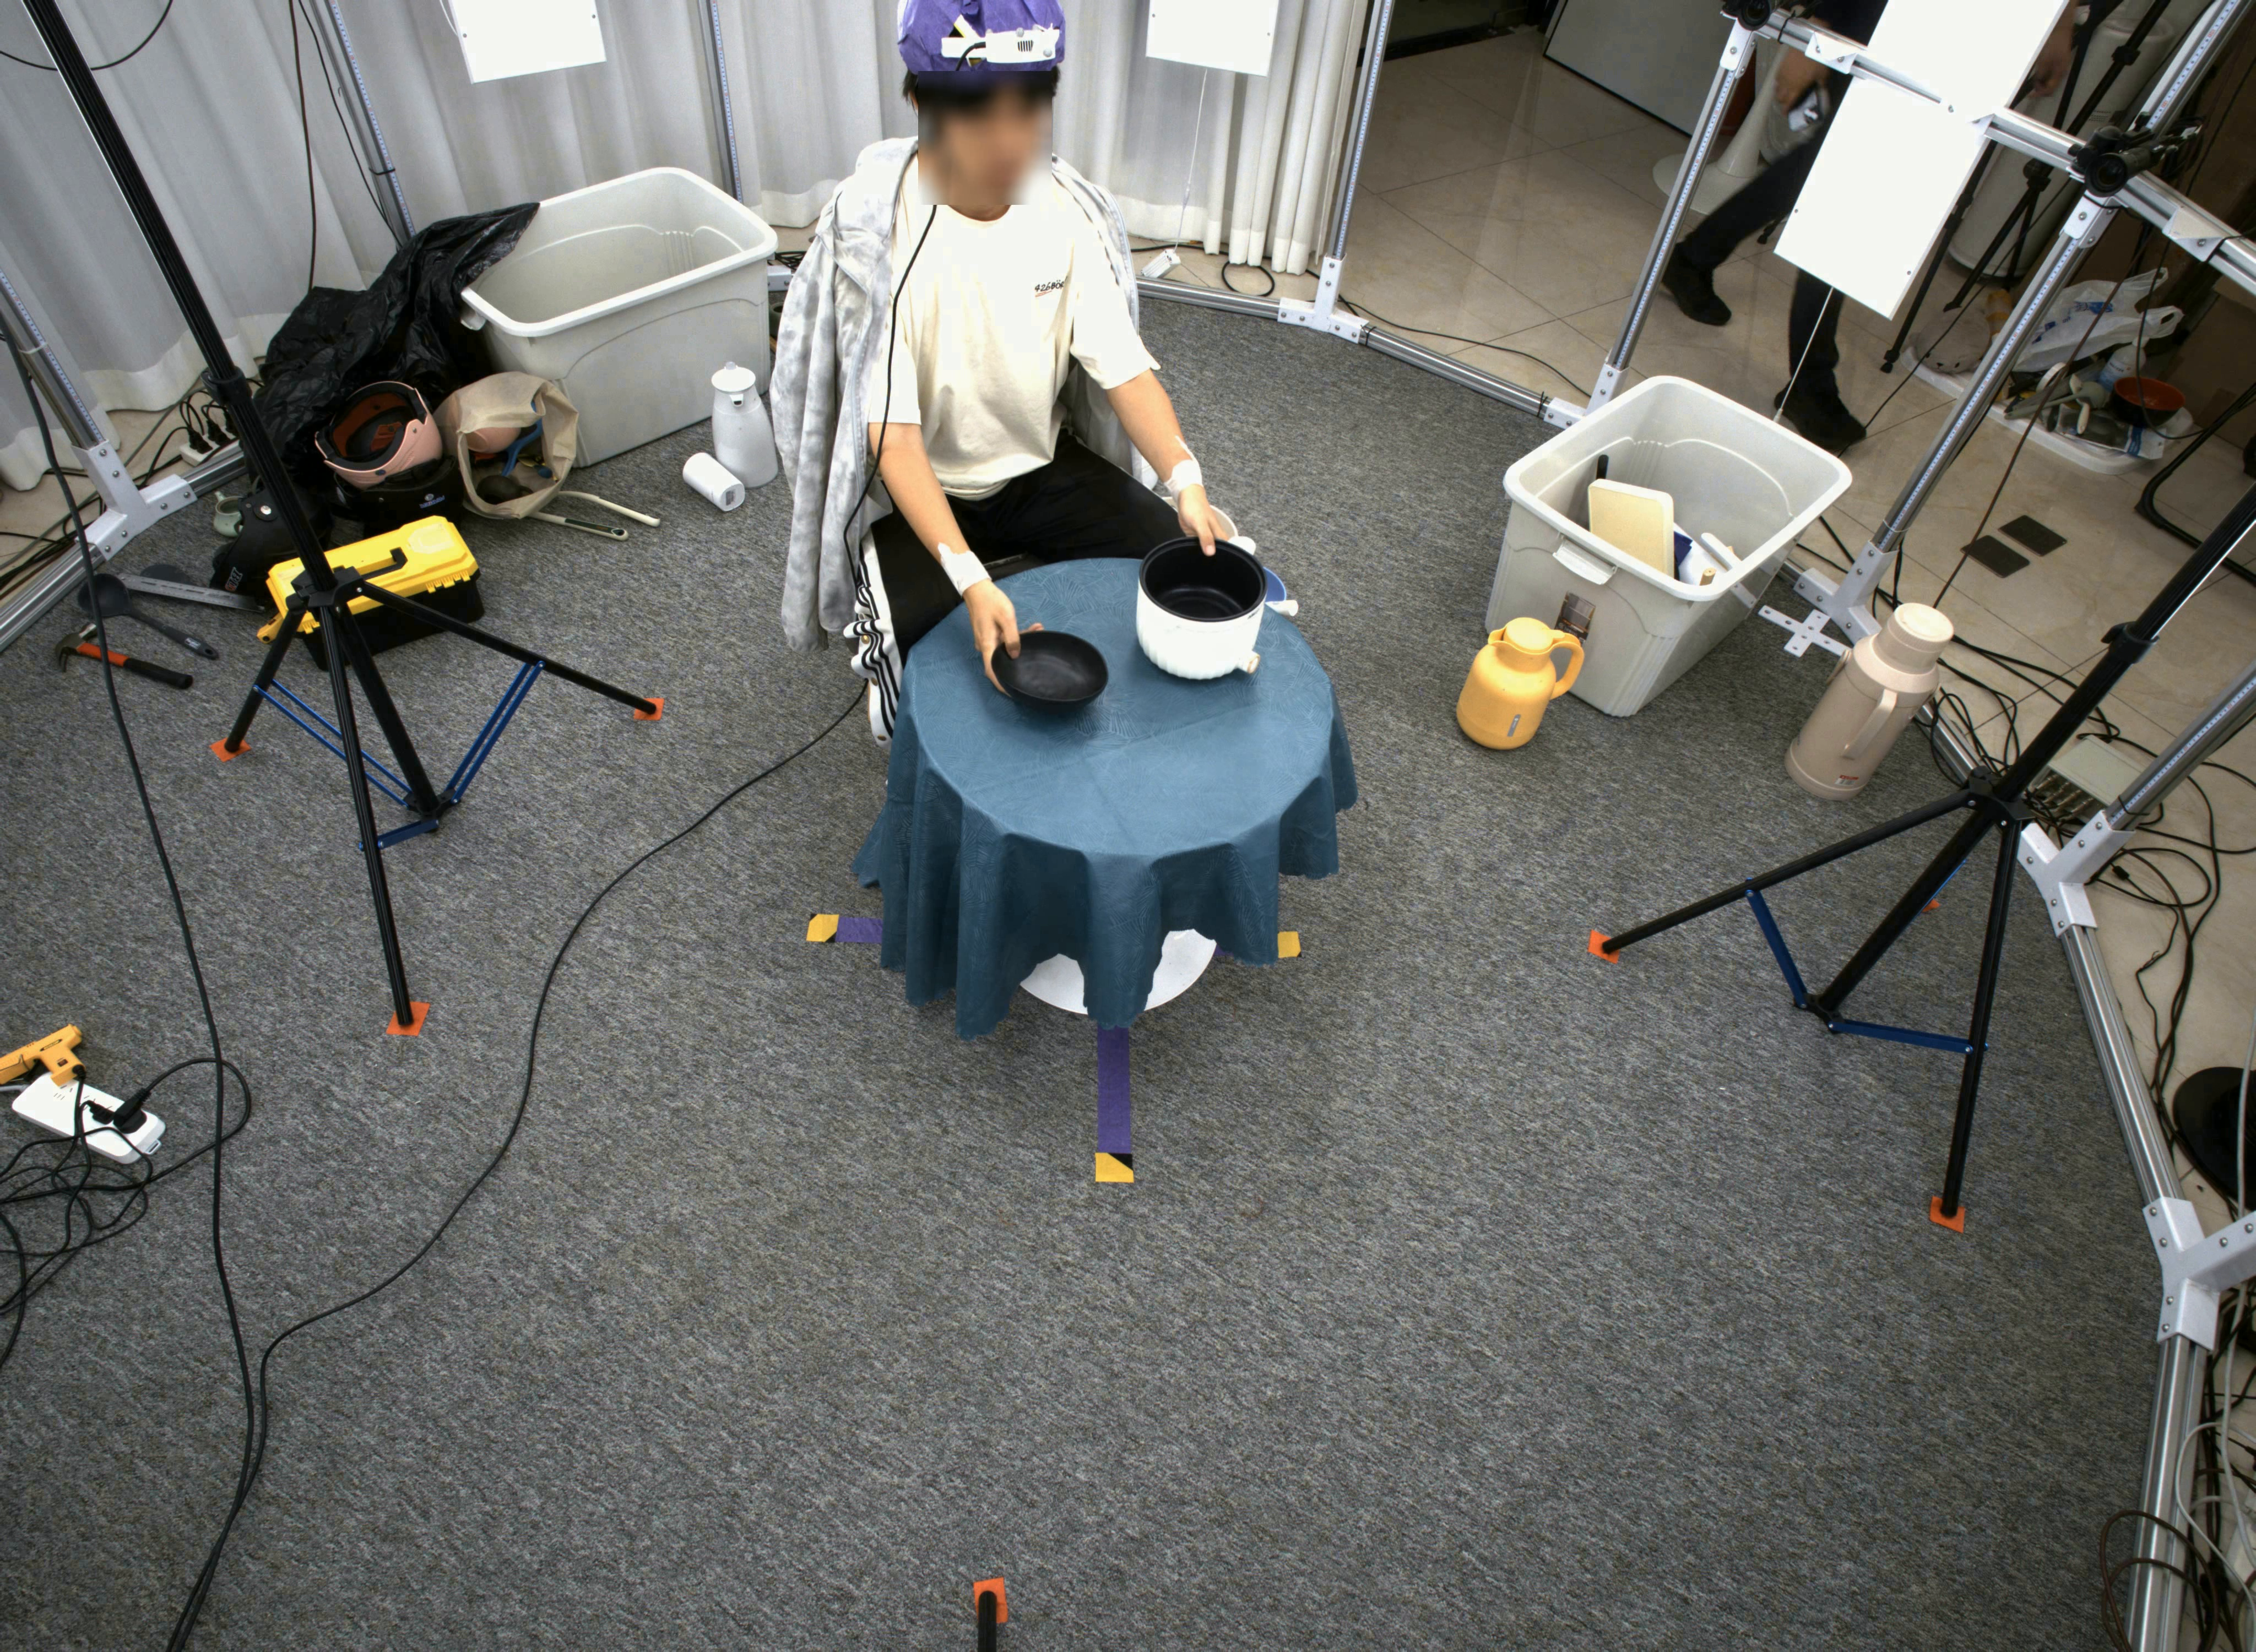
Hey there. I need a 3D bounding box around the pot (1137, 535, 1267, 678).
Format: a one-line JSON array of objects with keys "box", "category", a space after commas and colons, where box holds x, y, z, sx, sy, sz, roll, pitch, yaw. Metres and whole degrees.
[{"box": [0.106, -0.305, 1.845, 0.192, 0.139, 0.243, 27, 53, 23], "category": "pot"}]

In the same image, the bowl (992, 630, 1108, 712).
[{"box": [-0.111, -0.204, 1.790, 0.171, 0.065, 0.140, 21, 49, 15], "category": "bowl"}]
